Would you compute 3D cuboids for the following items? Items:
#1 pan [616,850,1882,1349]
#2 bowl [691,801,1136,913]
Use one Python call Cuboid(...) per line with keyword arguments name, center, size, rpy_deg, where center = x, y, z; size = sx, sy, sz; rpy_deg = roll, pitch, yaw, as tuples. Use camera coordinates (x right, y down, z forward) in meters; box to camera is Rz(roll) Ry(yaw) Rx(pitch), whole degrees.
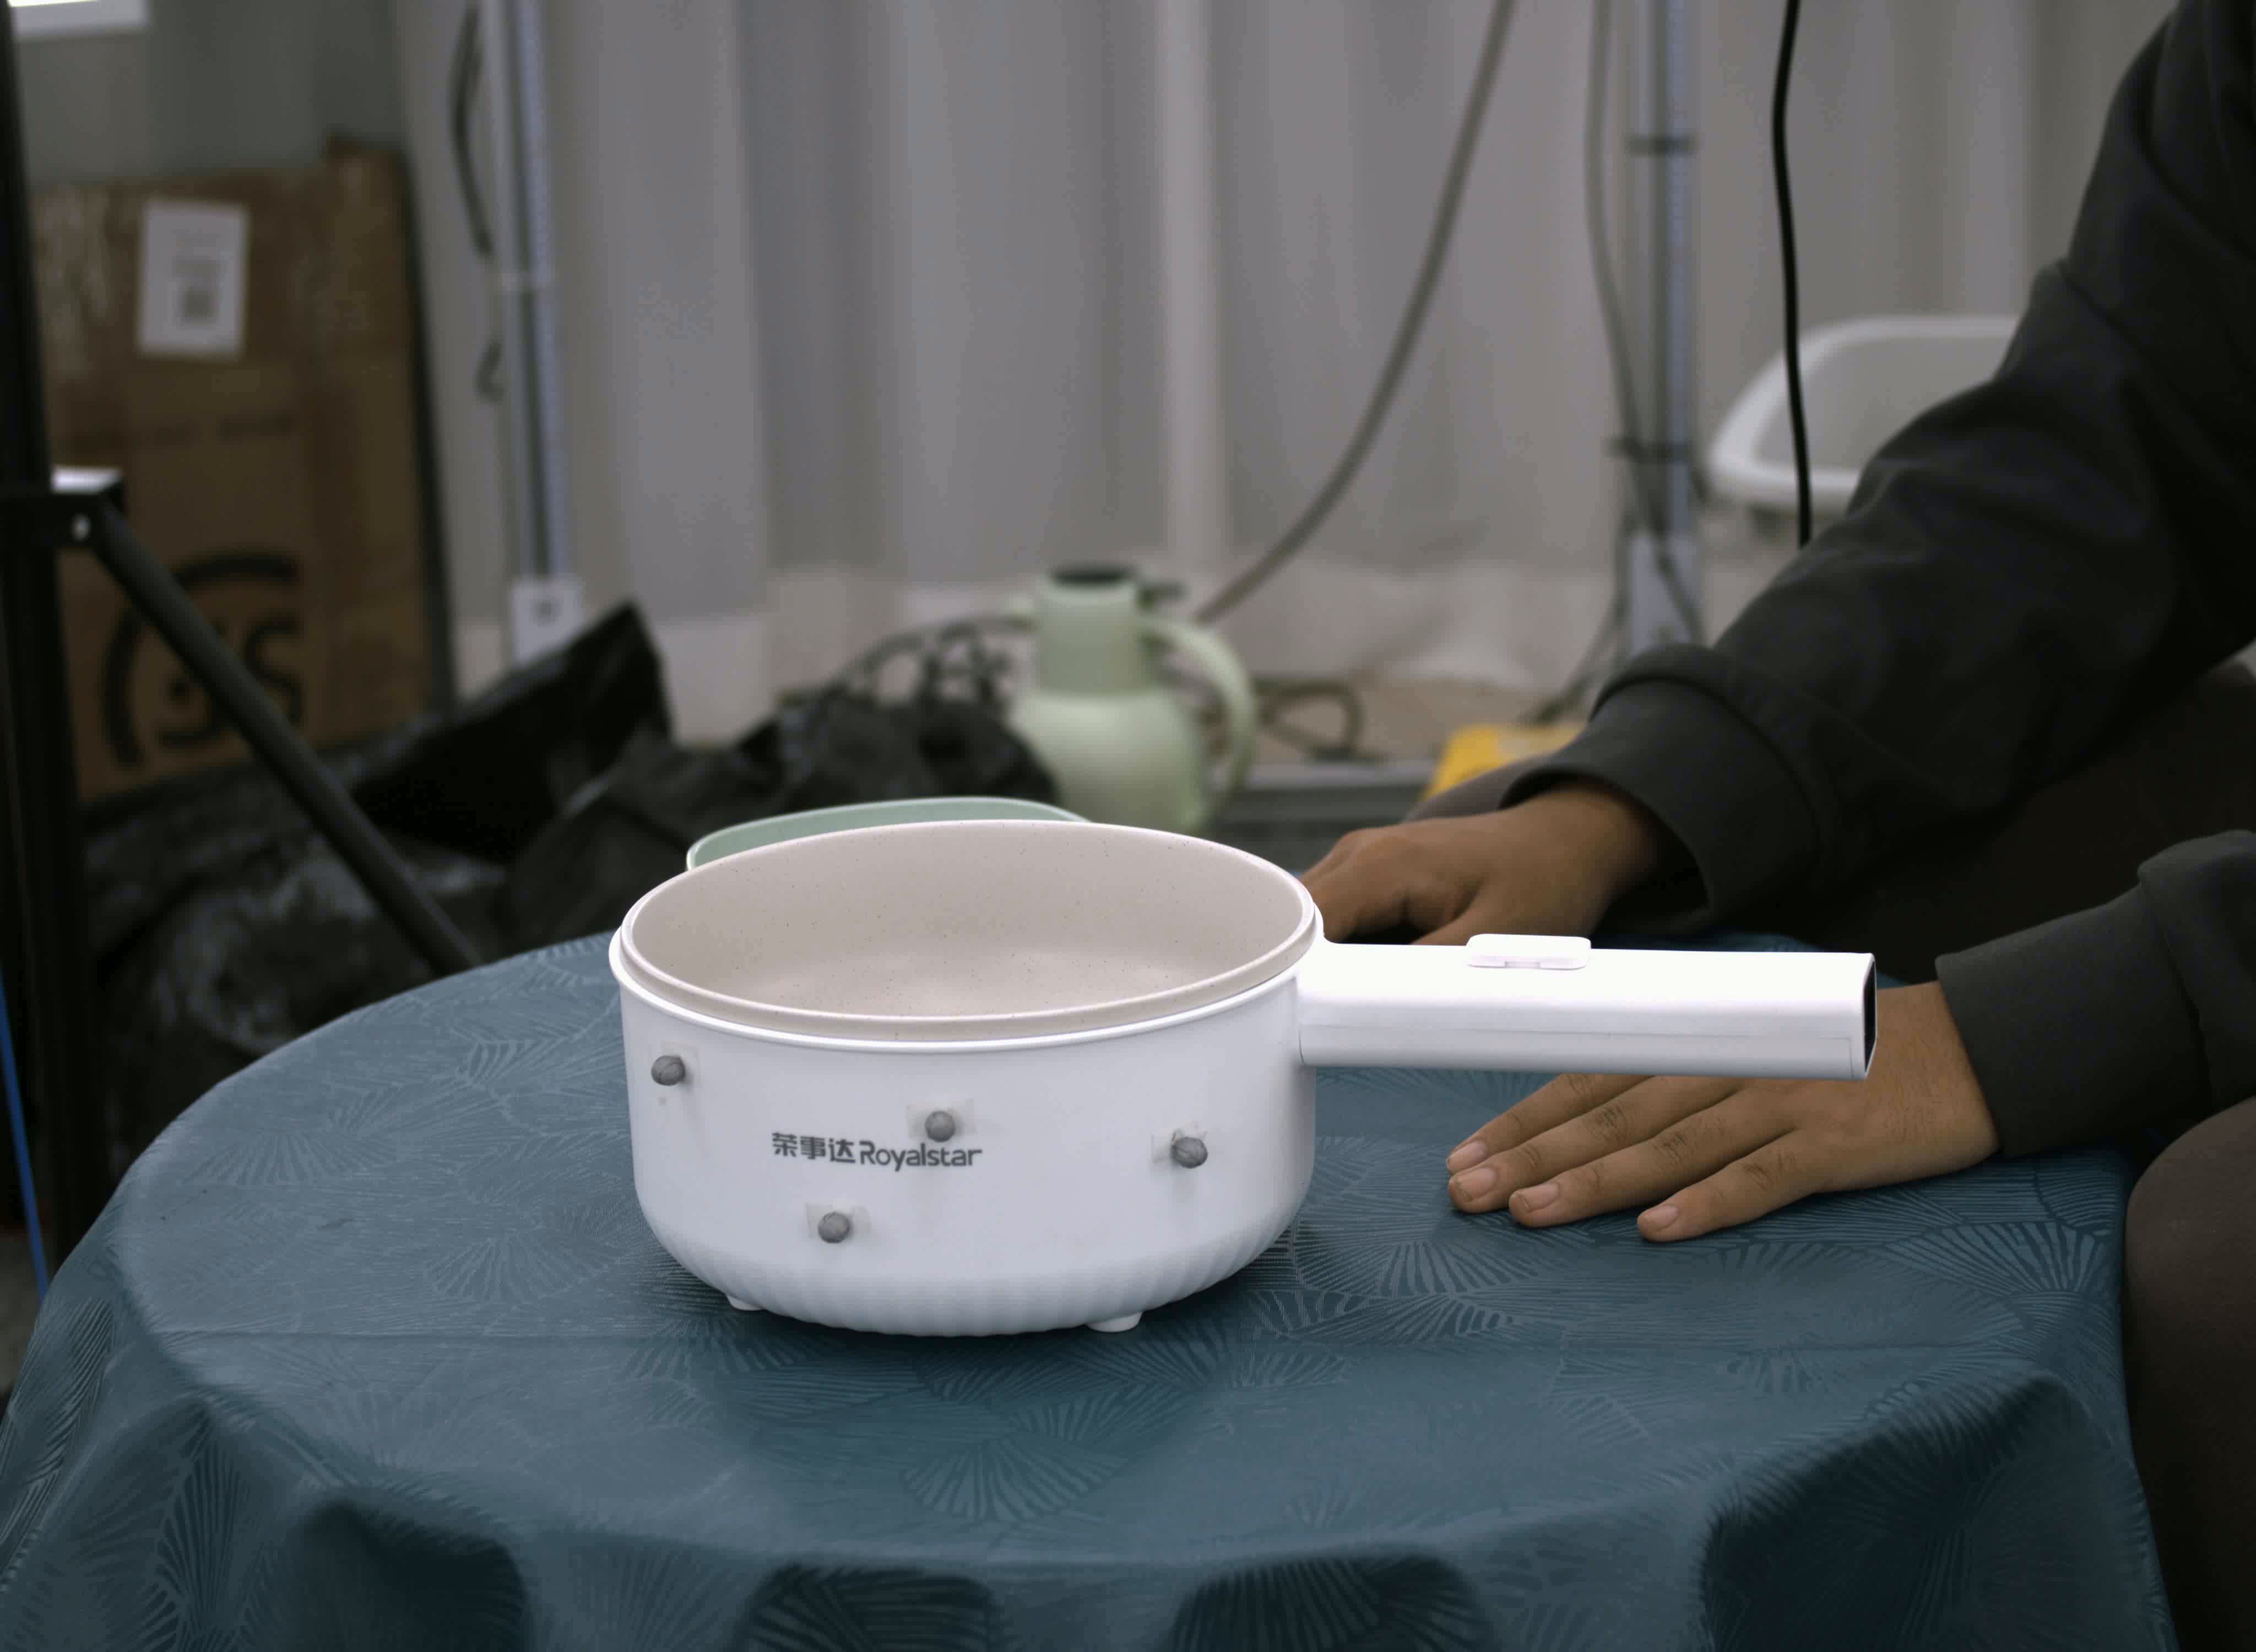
Cuboid(name="pan", center=(0.031, 0.082, 1.484), size=(0.357, 0.102, 0.199), rpy_deg=(3, 13, 14))
Cuboid(name="bowl", center=(-0.067, 0.039, 1.704), size=(0.151, 0.058, 0.152), rpy_deg=(-4, 15, 0))
